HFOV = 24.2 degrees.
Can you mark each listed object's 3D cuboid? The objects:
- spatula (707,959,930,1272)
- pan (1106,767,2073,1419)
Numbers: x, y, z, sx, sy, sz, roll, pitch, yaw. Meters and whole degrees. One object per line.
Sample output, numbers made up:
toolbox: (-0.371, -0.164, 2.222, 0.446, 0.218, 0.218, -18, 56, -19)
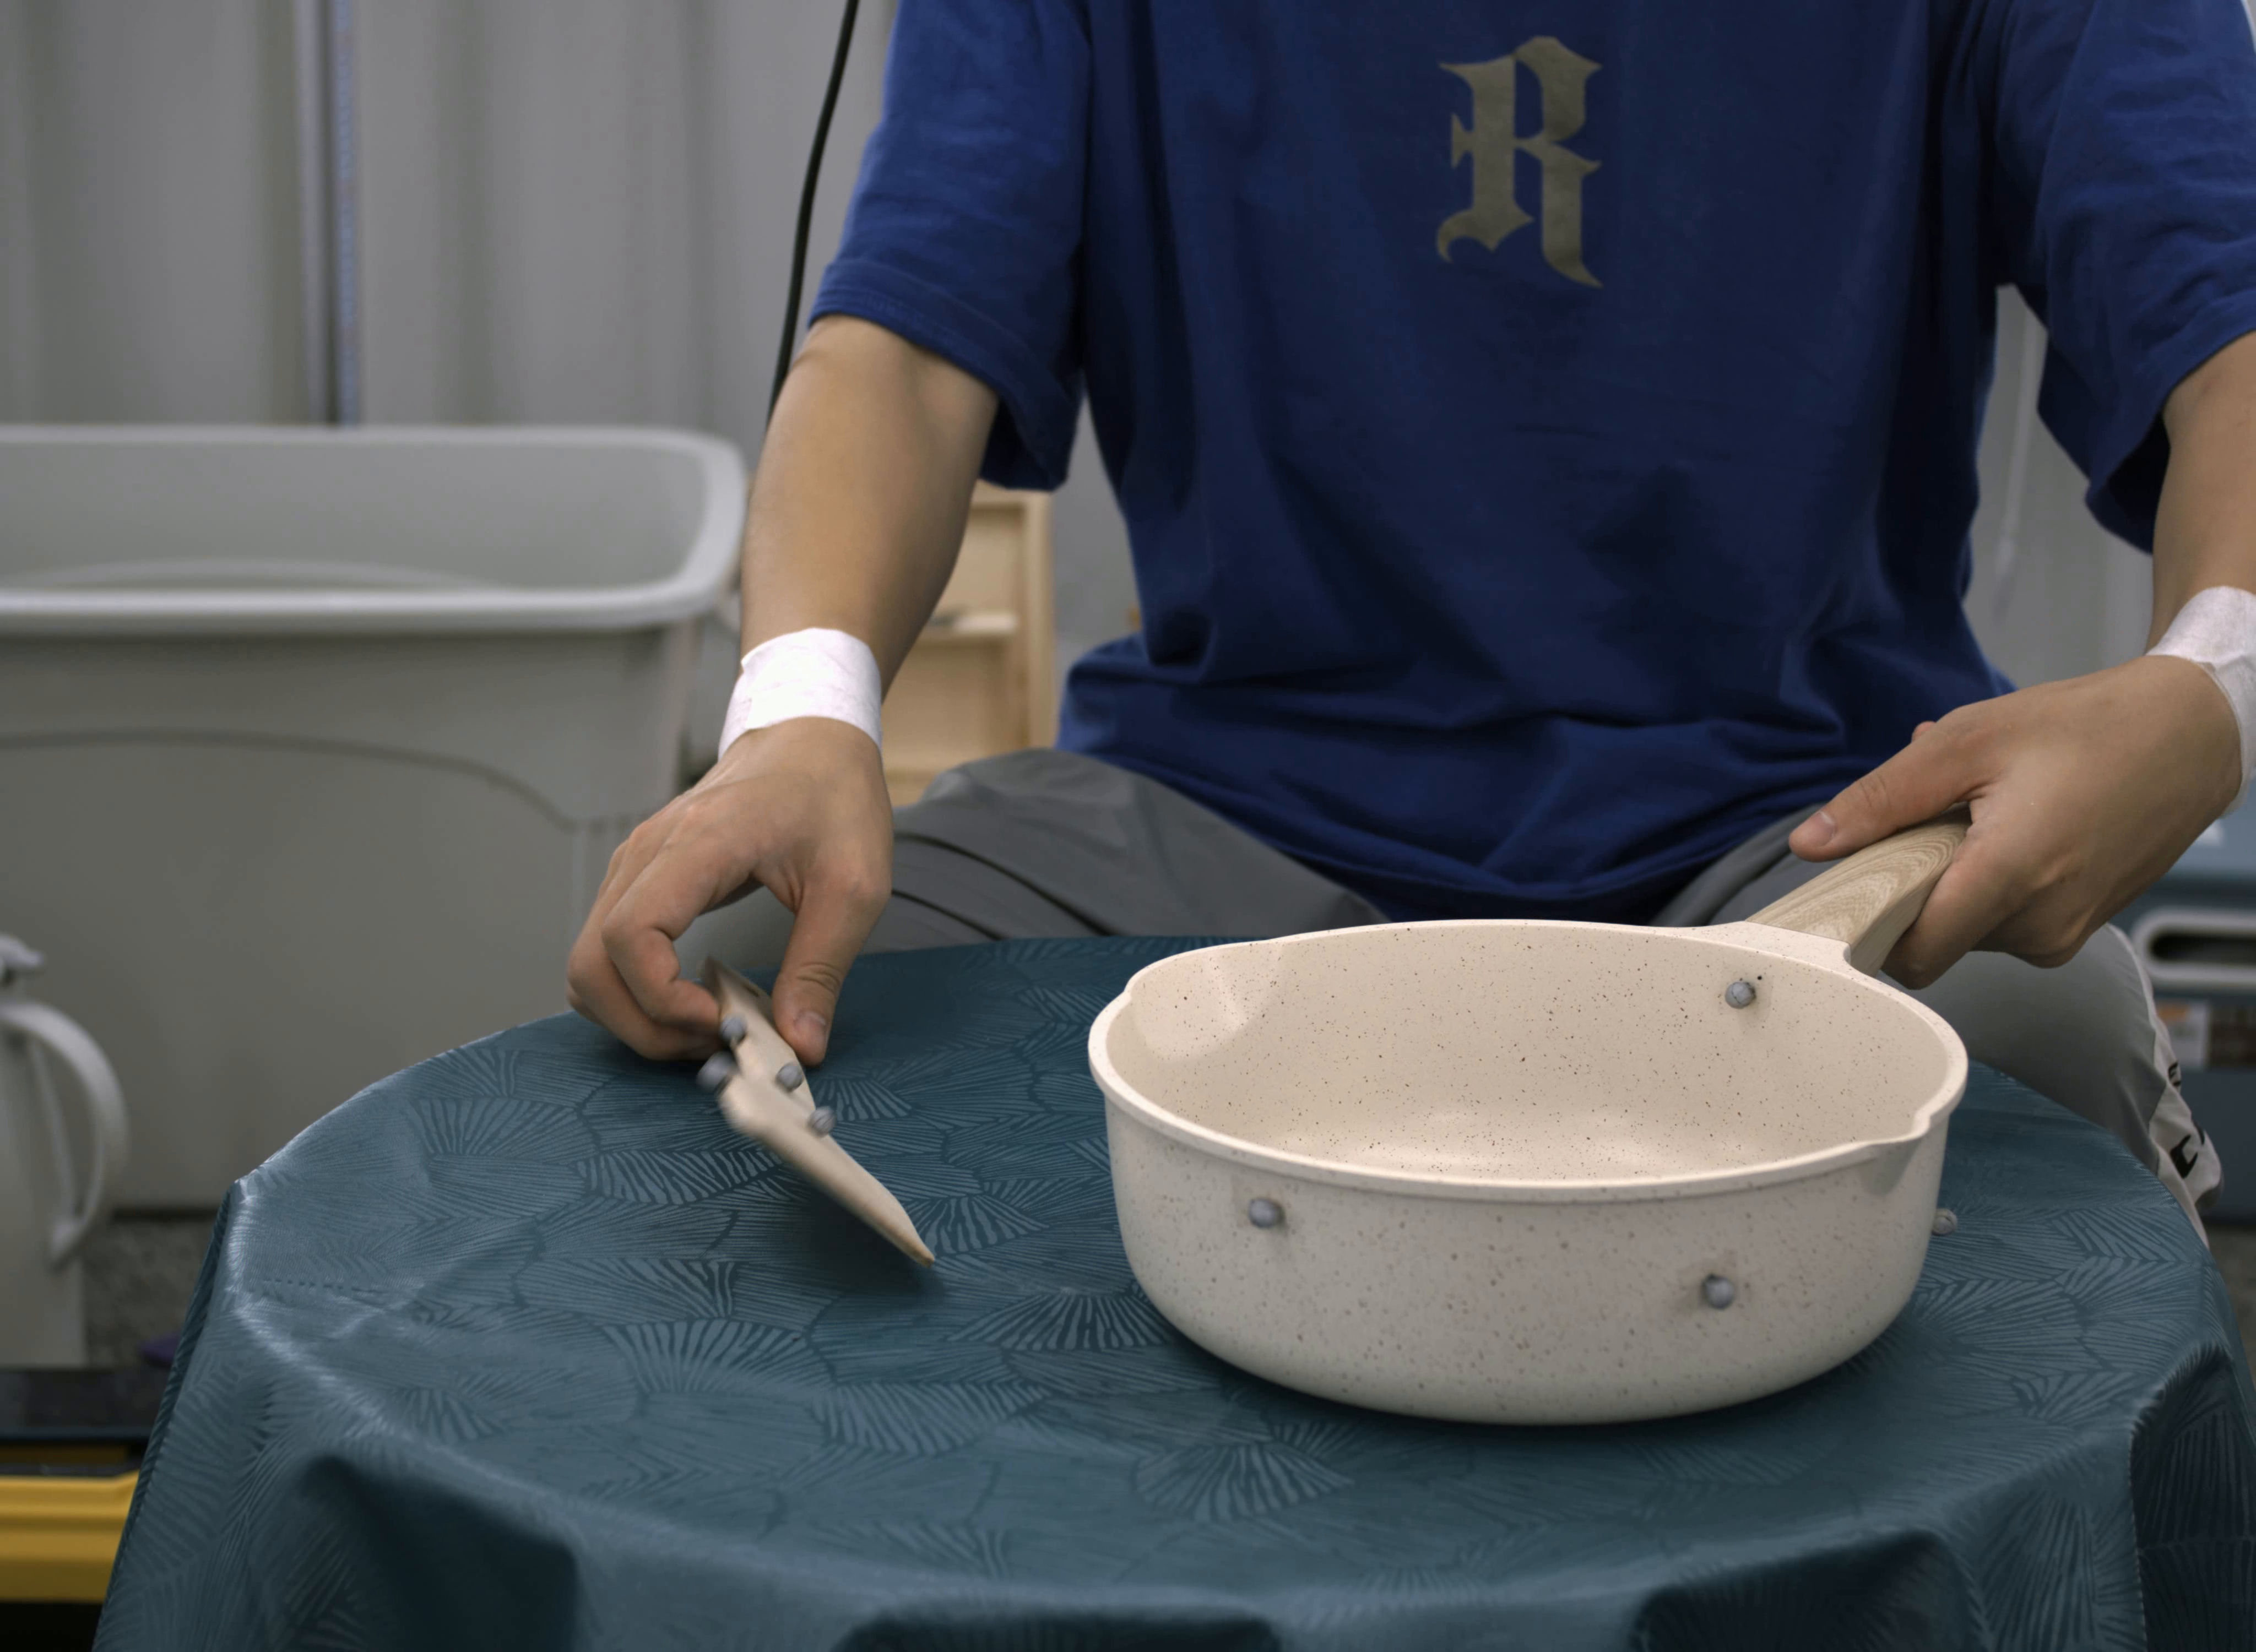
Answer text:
spatula: (-0.110, 0.082, 1.661, 0.072, 0.010, 0.291, 33, 5, -15)
pan: (0.174, 0.074, 1.580, 0.260, 0.103, 0.437, 10, 18, 36)
